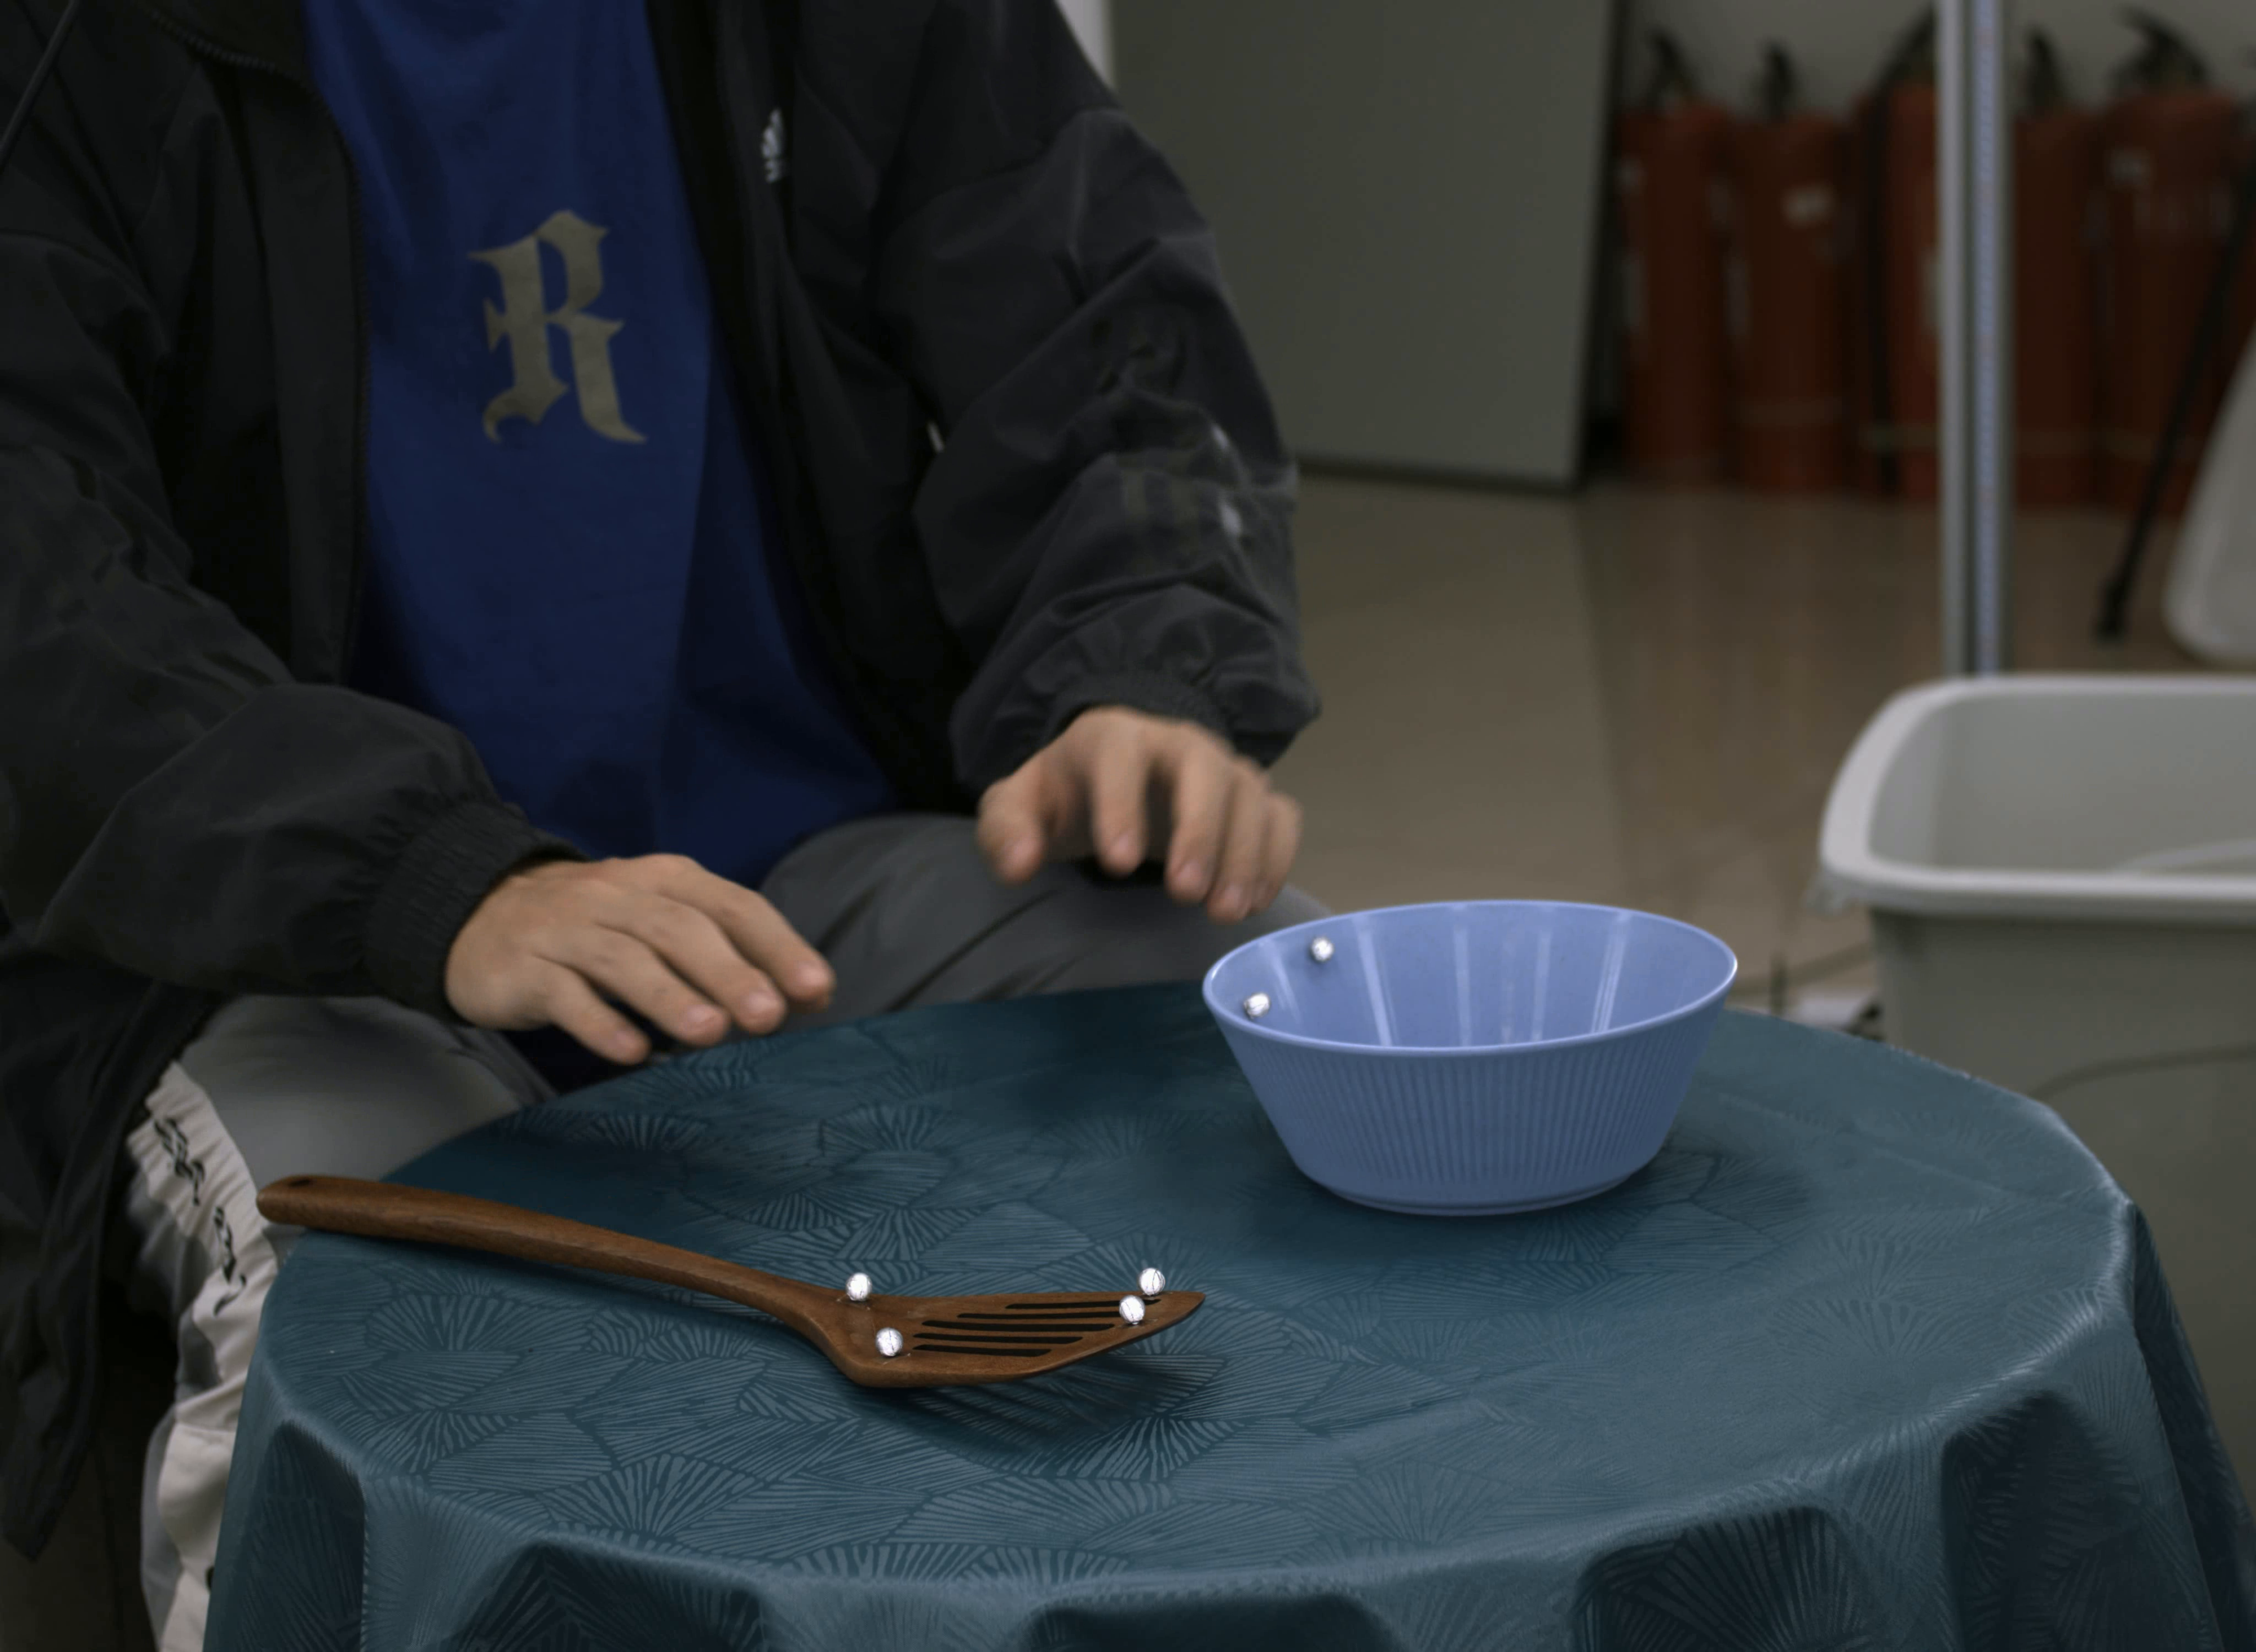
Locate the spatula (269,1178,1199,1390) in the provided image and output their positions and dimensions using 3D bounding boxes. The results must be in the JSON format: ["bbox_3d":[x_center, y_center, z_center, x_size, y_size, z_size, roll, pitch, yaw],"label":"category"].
[{"bbox_3d":[-0.140,0.141,1.688,0.390,0.024,0.084,6,16,42],"label":"spatula"}]

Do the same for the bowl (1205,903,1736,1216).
[{"bbox_3d":[0.114,0.079,1.763,0.174,0.071,0.176,-4,13,0],"label":"bowl"}]
